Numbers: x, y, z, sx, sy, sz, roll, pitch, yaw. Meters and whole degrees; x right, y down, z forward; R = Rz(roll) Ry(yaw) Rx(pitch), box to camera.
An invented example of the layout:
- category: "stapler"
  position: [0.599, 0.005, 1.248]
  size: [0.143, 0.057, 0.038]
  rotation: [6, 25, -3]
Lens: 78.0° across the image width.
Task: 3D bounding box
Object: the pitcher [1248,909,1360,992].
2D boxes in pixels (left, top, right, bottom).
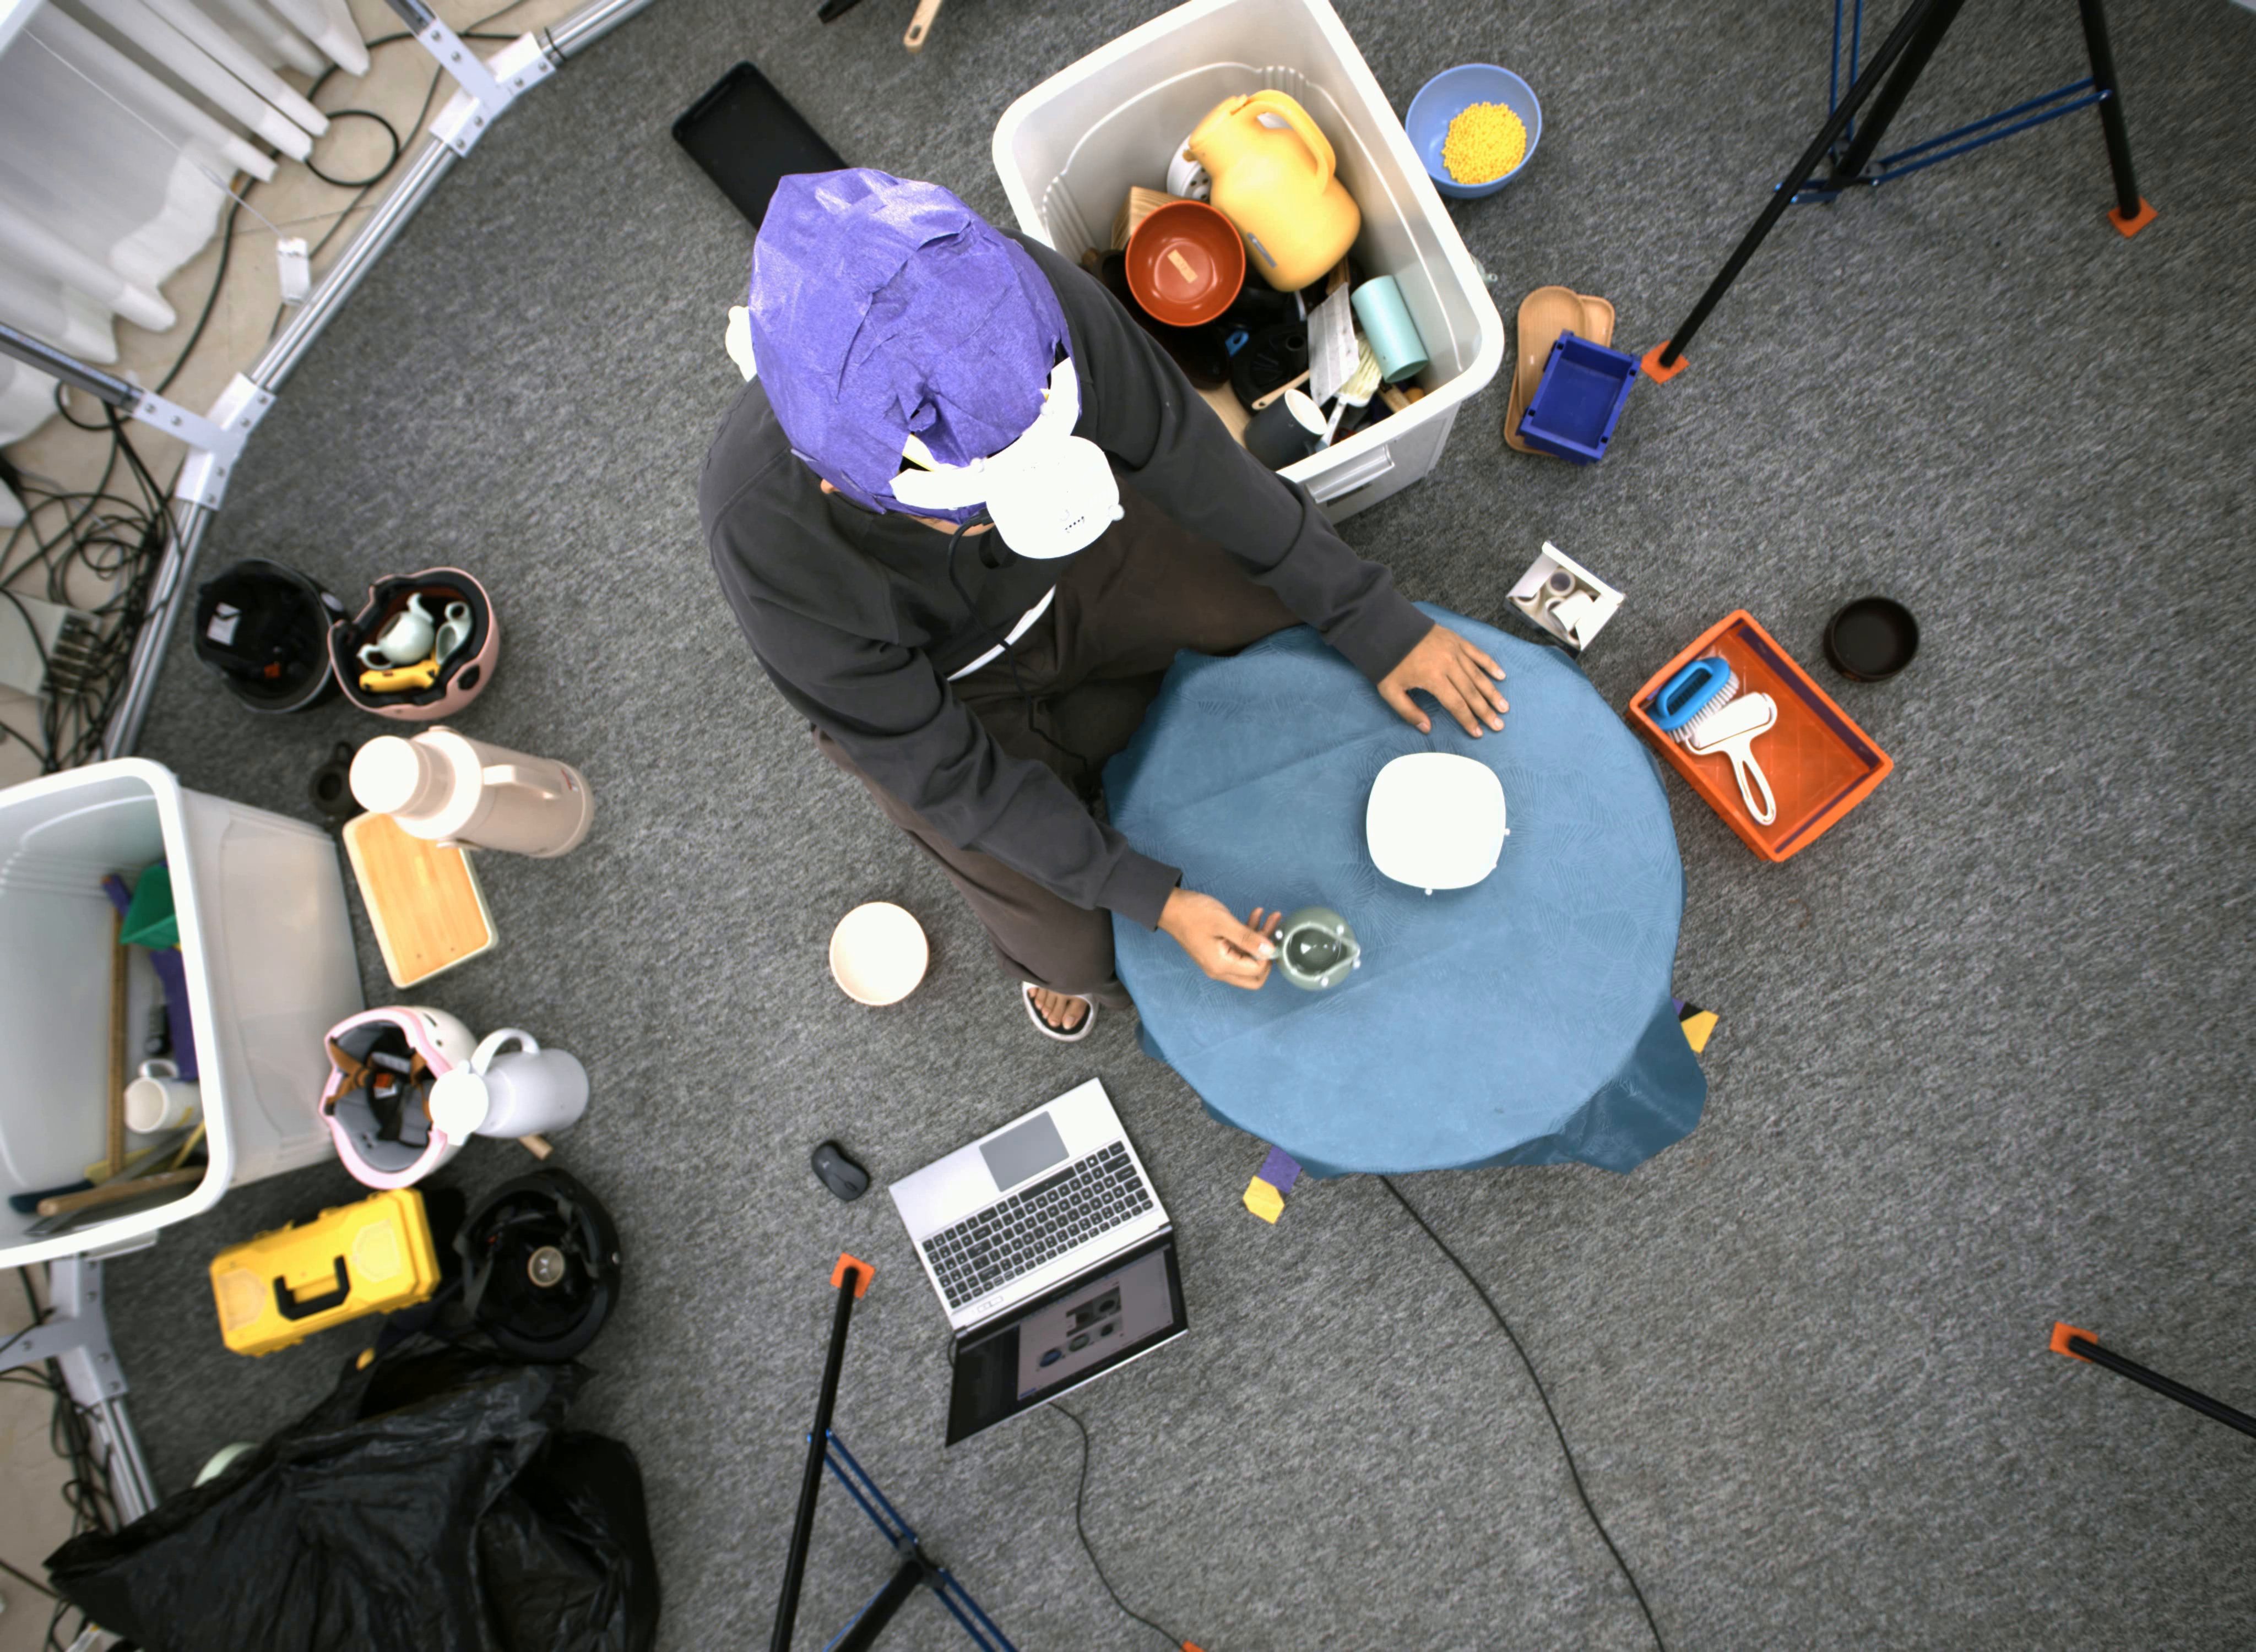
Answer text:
- category: "pitcher"
  position: [0.179, 0.125, 1.389]
  size: [0.113, 0.056, 0.084]
  rotation: [-4, 93, 16]

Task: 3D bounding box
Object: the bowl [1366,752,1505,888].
- category: "bowl"
  position: [0.317, -0.006, 1.428]
  size: [0.152, 0.058, 0.151]
  rotation: [-1, 87, 9]
